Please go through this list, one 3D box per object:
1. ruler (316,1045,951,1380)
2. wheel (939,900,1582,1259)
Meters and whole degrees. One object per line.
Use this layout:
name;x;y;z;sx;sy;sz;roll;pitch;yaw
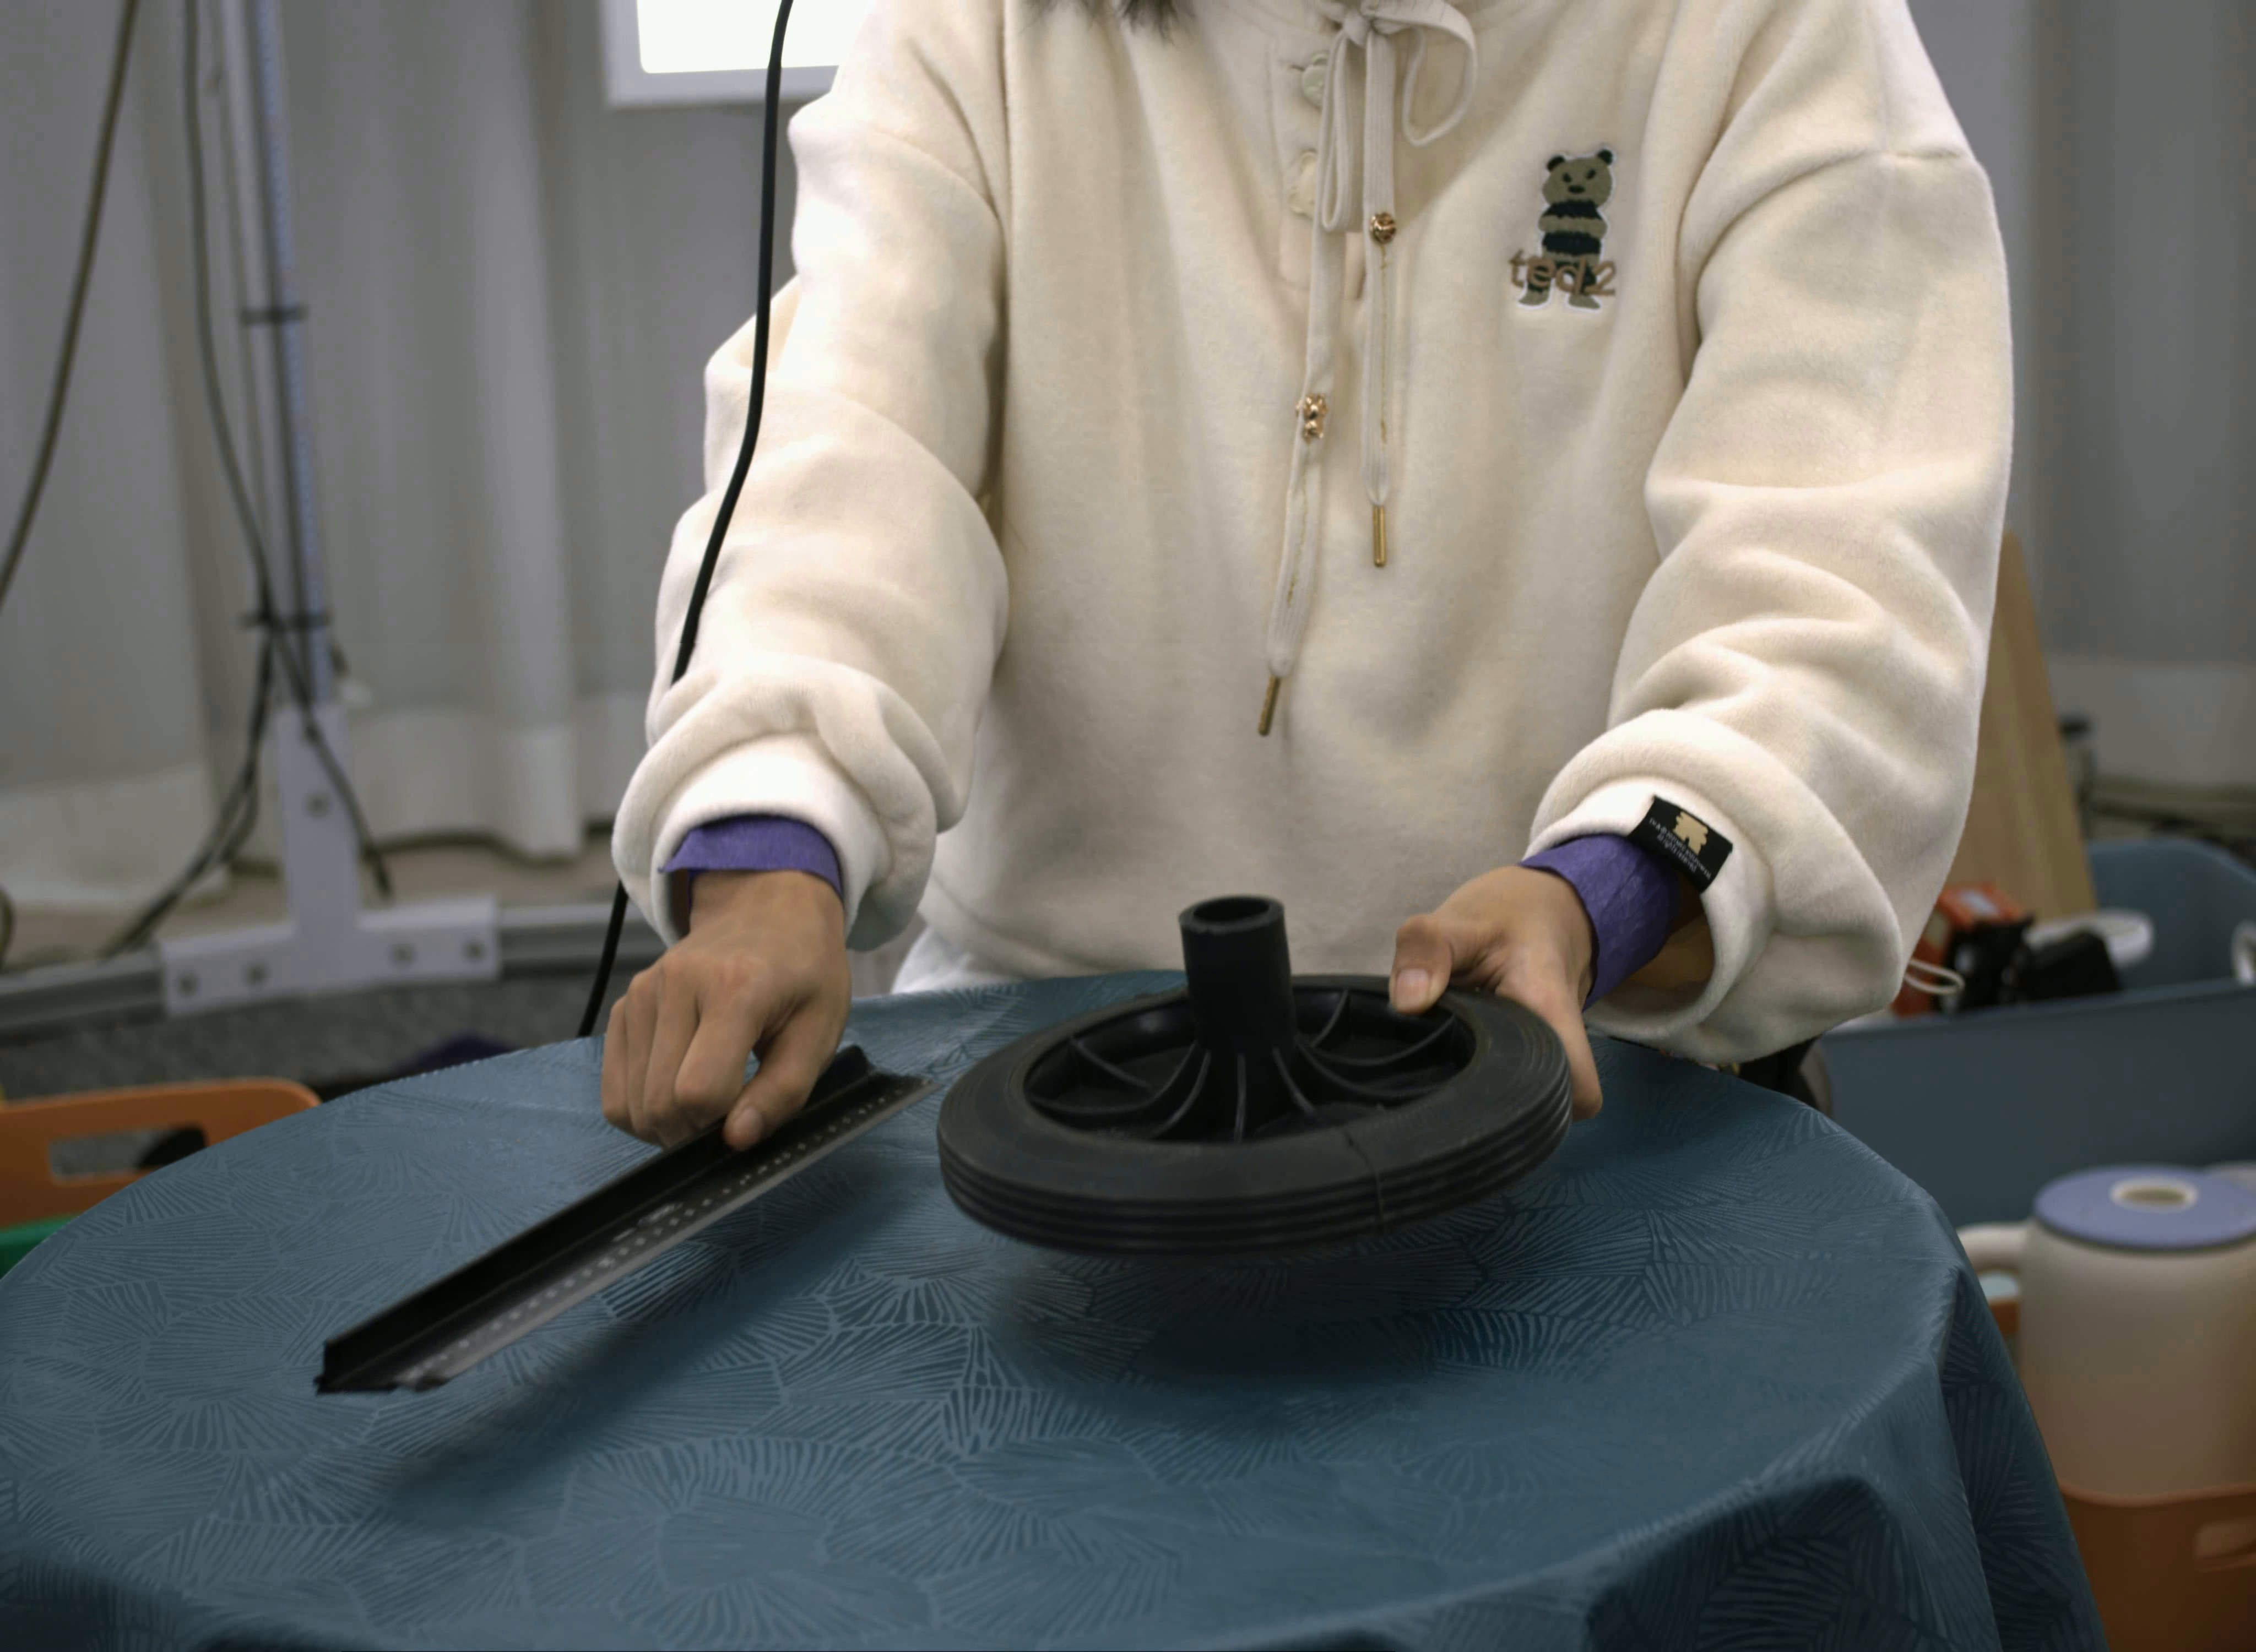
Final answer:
ruler;-0.140;0.111;1.622;0.039;0.017;0.313;0;12;27
wheel;0.036;0.064;1.607;0.189;0.079;0.188;-2;17;16
